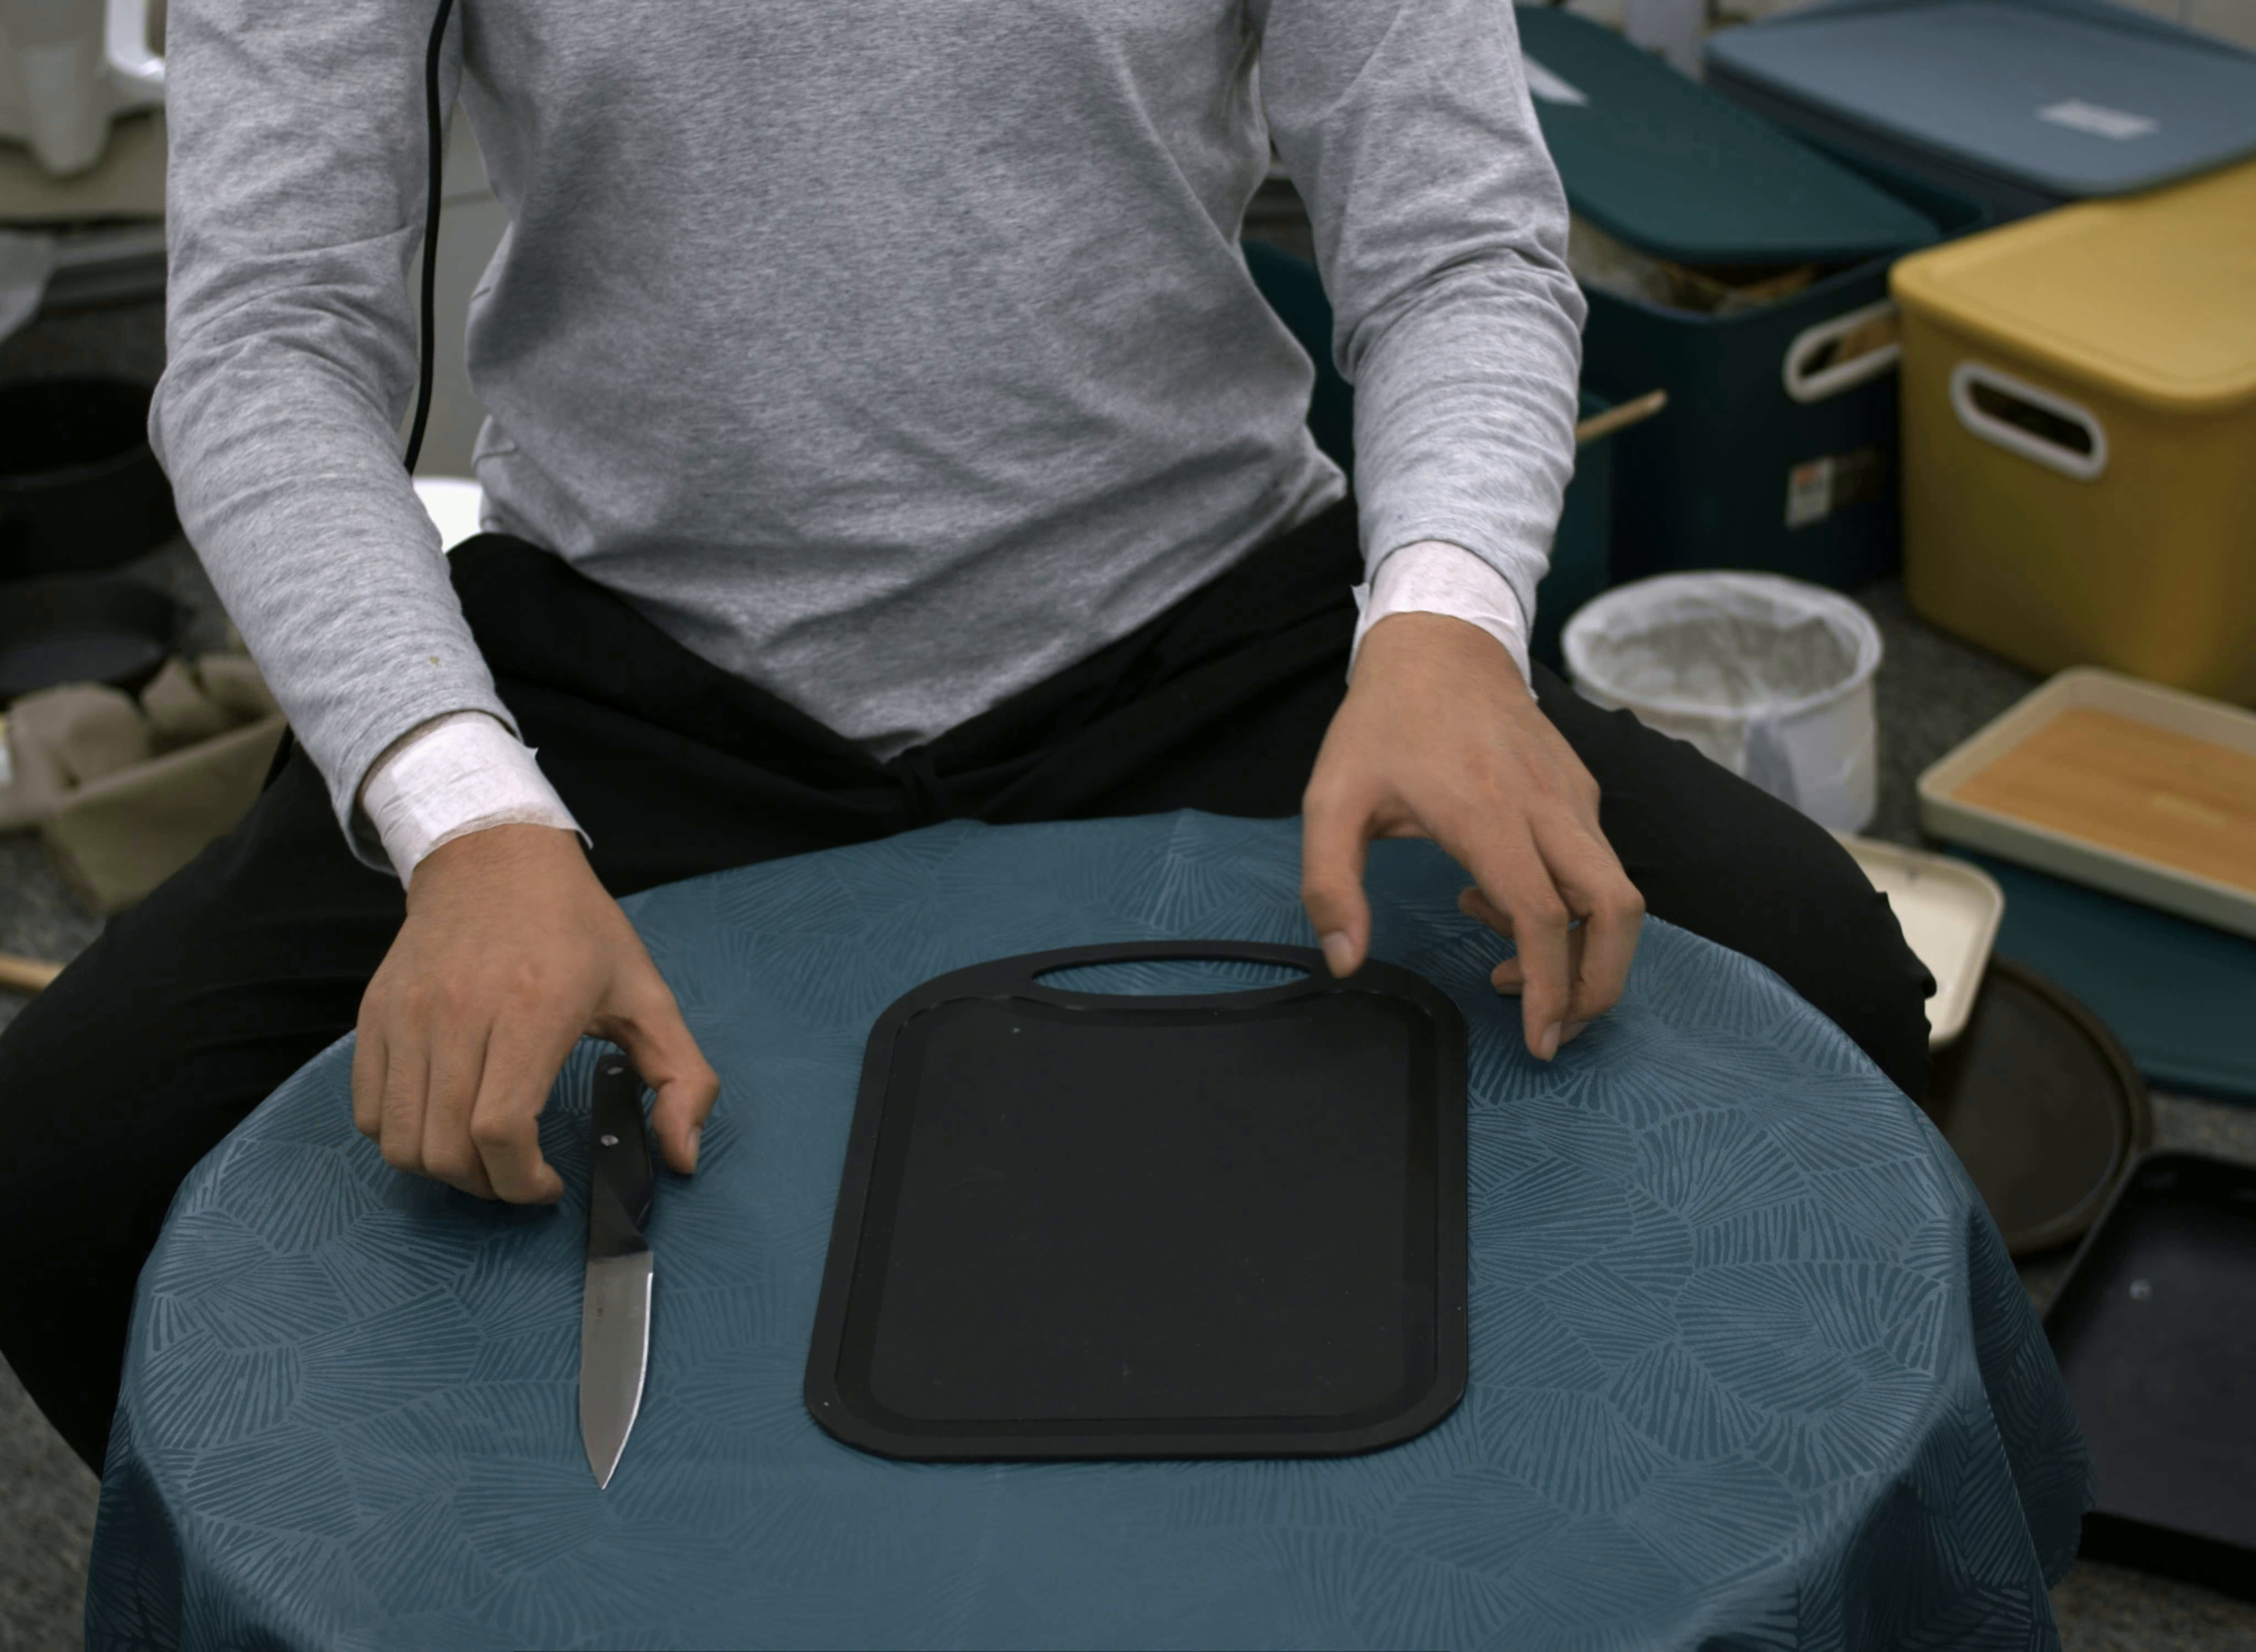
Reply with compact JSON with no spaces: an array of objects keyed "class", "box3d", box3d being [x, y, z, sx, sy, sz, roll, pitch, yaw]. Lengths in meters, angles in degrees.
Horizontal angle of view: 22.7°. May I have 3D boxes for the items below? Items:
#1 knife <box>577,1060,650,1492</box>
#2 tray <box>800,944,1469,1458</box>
[{"class":"knife","box3d":[-0.167,0.145,1.820,0.024,0.016,0.242,-5,30,-2]},{"class":"tray","box3d":[0.007,0.117,1.864,0.210,0.009,0.330,0,27,4]}]
